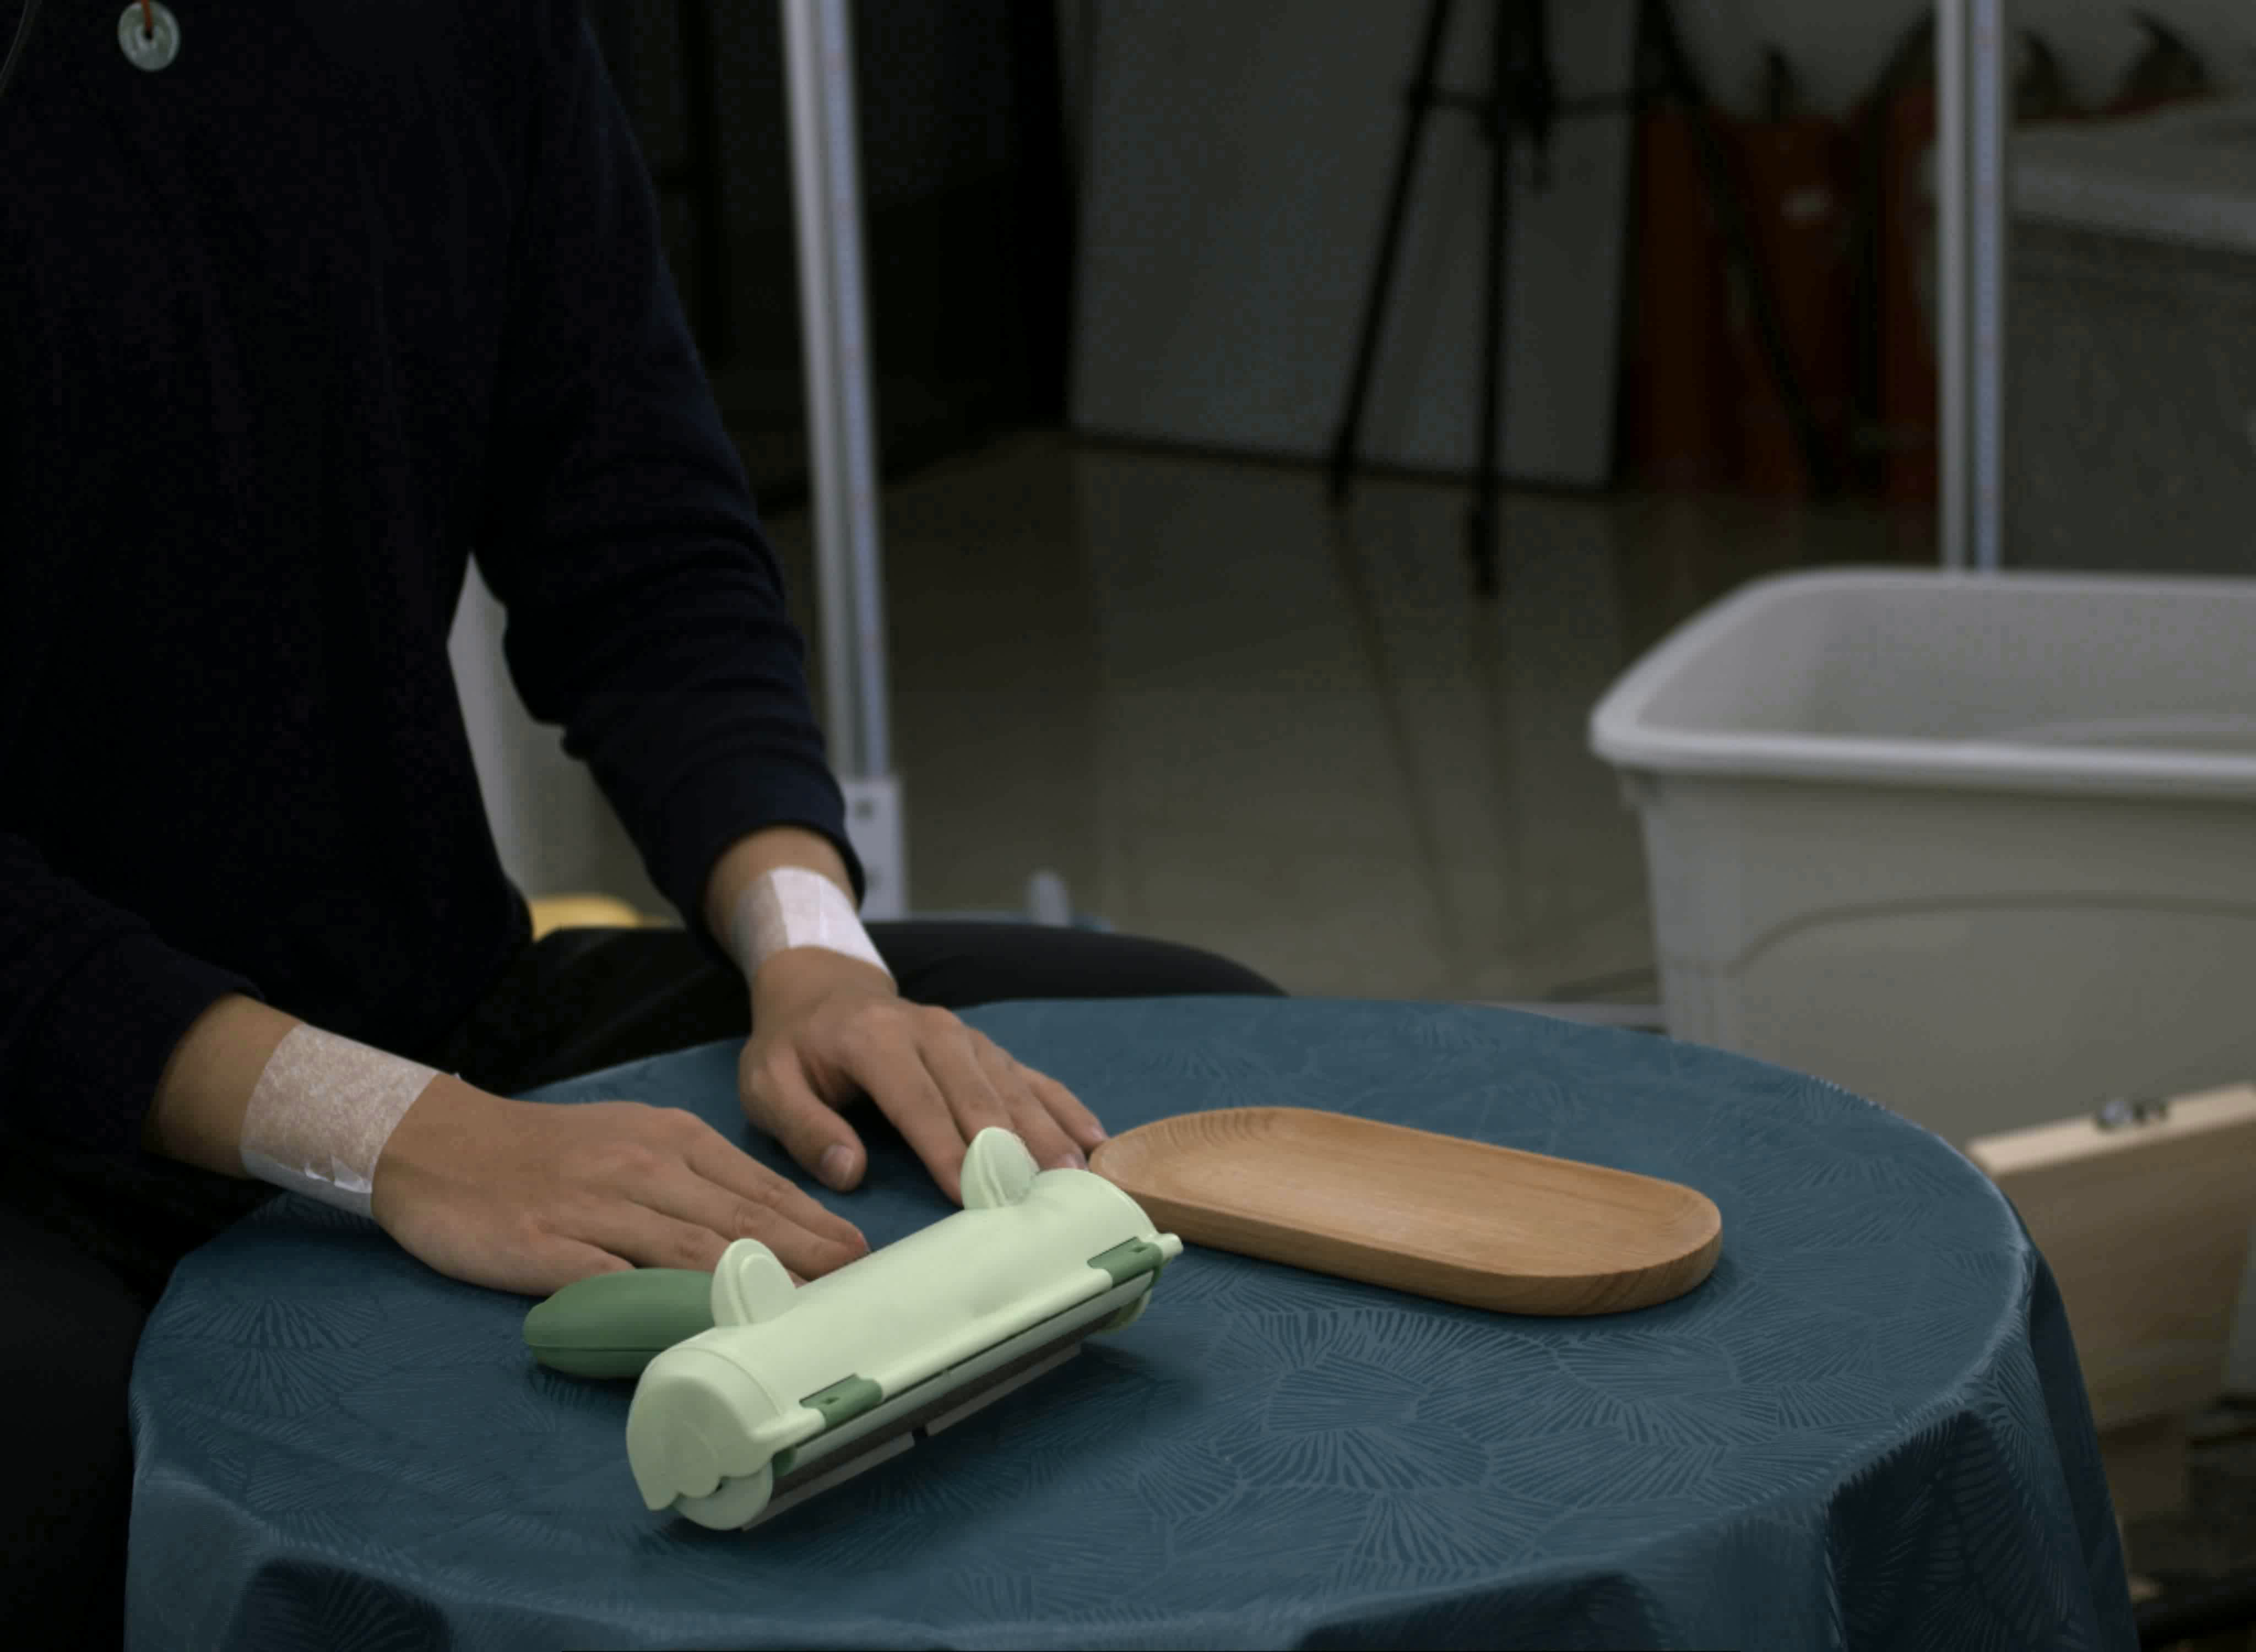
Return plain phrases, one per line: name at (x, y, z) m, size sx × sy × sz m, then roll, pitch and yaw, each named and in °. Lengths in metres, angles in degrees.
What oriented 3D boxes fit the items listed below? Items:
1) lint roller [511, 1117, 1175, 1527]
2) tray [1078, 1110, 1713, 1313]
lint roller at (-0.111, 0.130, 1.583) m, size 0.184 × 0.083 × 0.195 m, roll 13°, pitch 20°, yaw 34°
tray at (0.083, 0.121, 1.710) m, size 0.233 × 0.020 × 0.099 m, roll 7°, pitch 17°, yaw 42°
